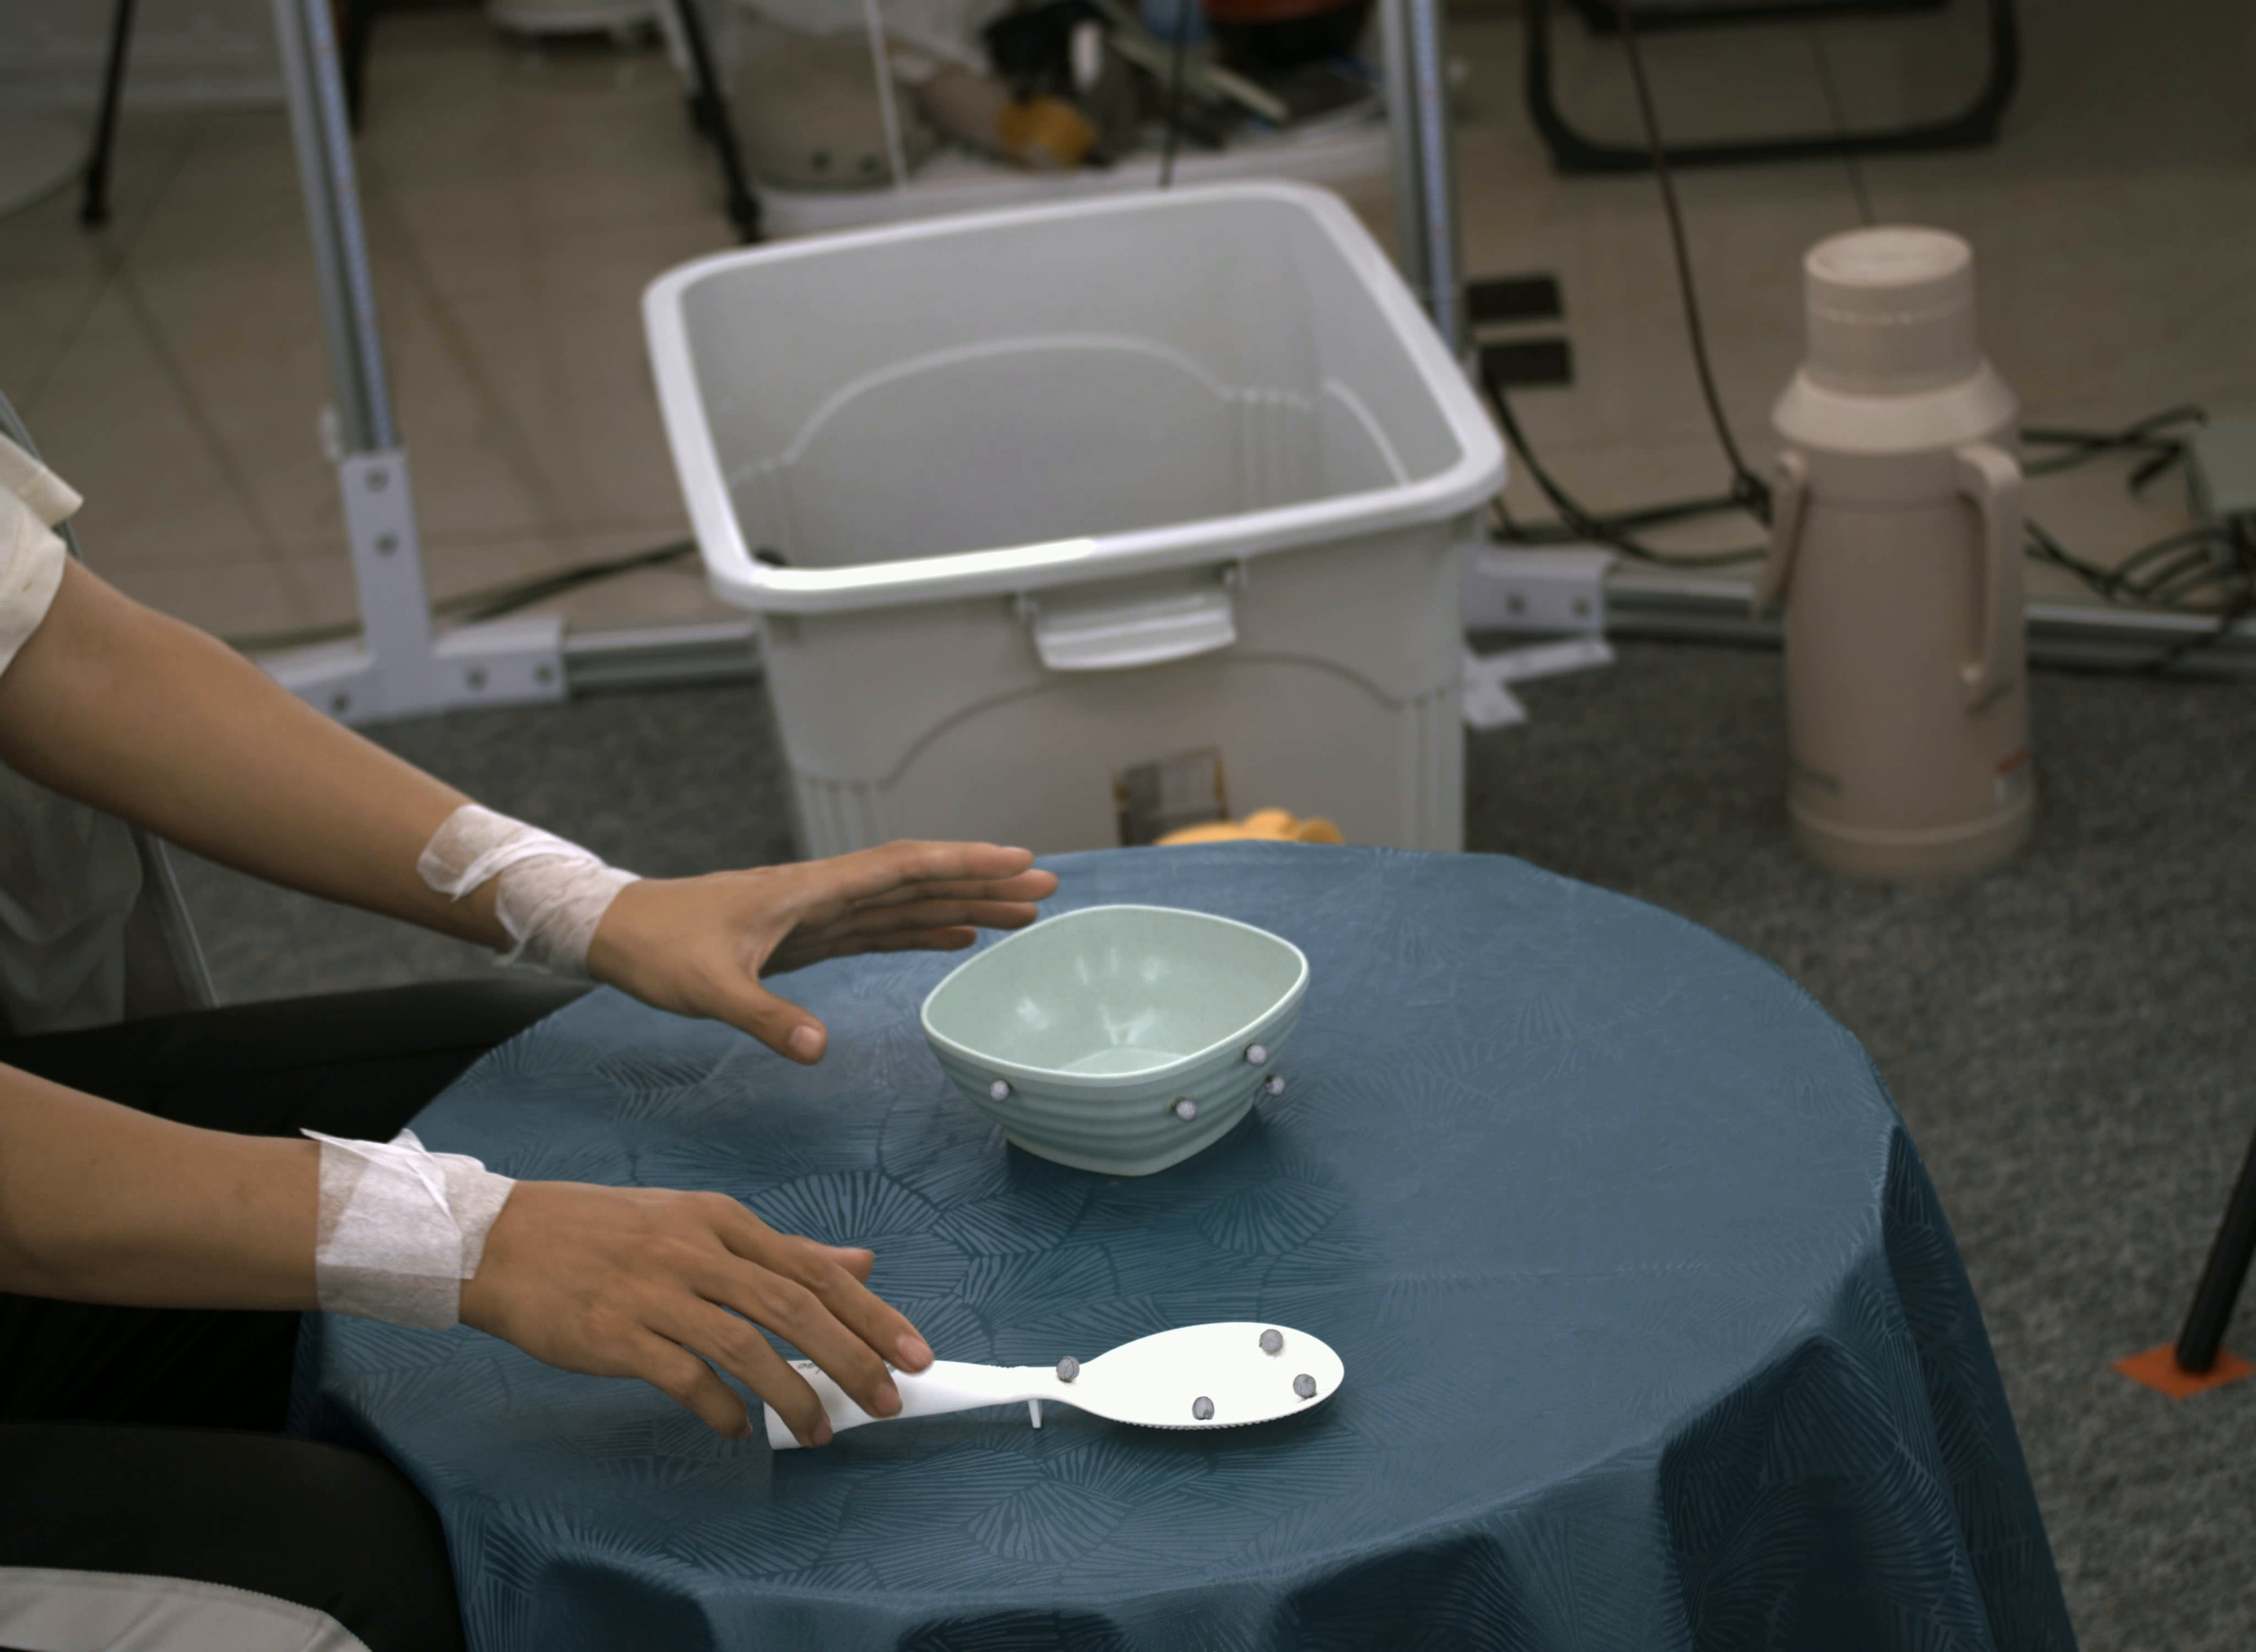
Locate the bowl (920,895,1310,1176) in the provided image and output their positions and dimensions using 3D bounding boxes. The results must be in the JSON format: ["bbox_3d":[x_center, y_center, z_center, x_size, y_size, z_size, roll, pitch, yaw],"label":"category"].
[{"bbox_3d":[-0.003,0.087,2.194,0.151,0.059,0.149,-3,27,2],"label":"bowl"}]

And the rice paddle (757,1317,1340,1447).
[{"bbox_3d":[-0.028,0.195,2.001,0.205,0.030,0.068,-4,26,4],"label":"rice paddle"}]
